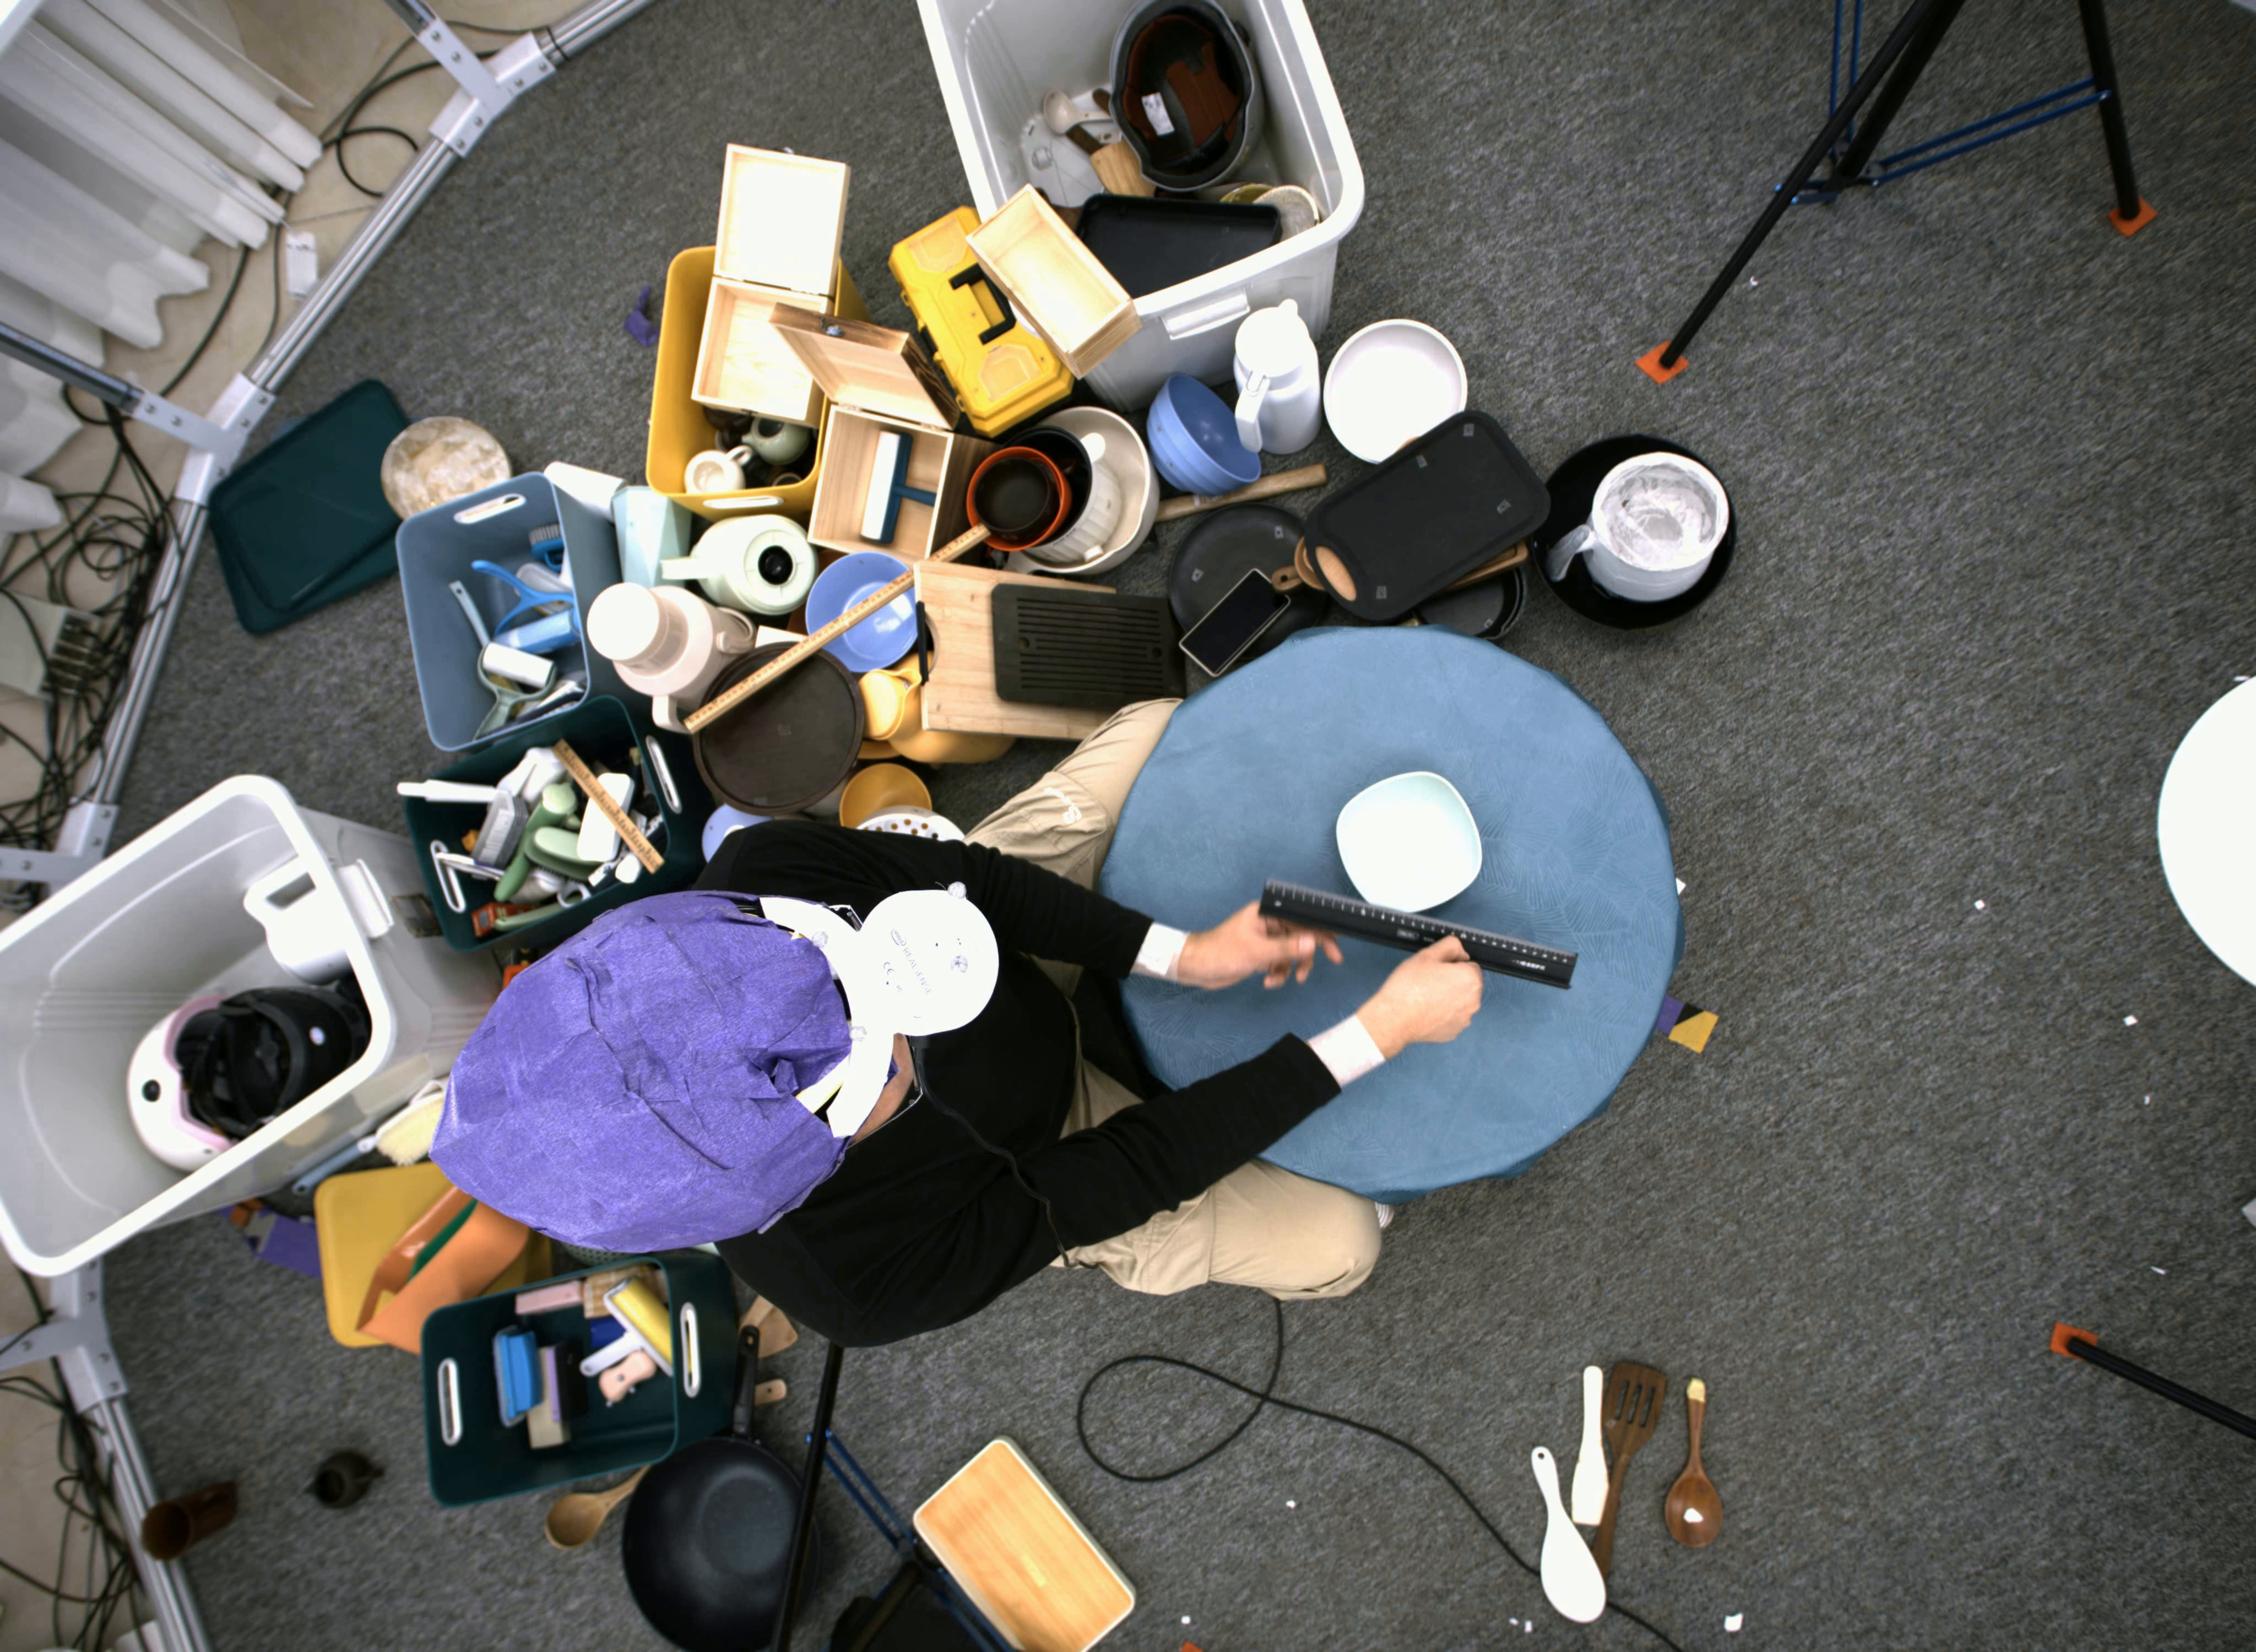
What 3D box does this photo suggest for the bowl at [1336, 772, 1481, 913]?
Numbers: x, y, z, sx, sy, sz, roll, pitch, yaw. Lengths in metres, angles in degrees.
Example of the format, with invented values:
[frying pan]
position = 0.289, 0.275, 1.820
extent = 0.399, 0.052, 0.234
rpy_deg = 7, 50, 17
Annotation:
[bowl]
position = 0.289, 0.018, 1.430
extent = 0.152, 0.059, 0.151
rpy_deg = -1, 86, 7

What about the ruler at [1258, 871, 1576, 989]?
[ruler]
position = 0.282, 0.101, 1.354
extent = 0.313, 0.017, 0.040
rpy_deg = 15, 106, 8
